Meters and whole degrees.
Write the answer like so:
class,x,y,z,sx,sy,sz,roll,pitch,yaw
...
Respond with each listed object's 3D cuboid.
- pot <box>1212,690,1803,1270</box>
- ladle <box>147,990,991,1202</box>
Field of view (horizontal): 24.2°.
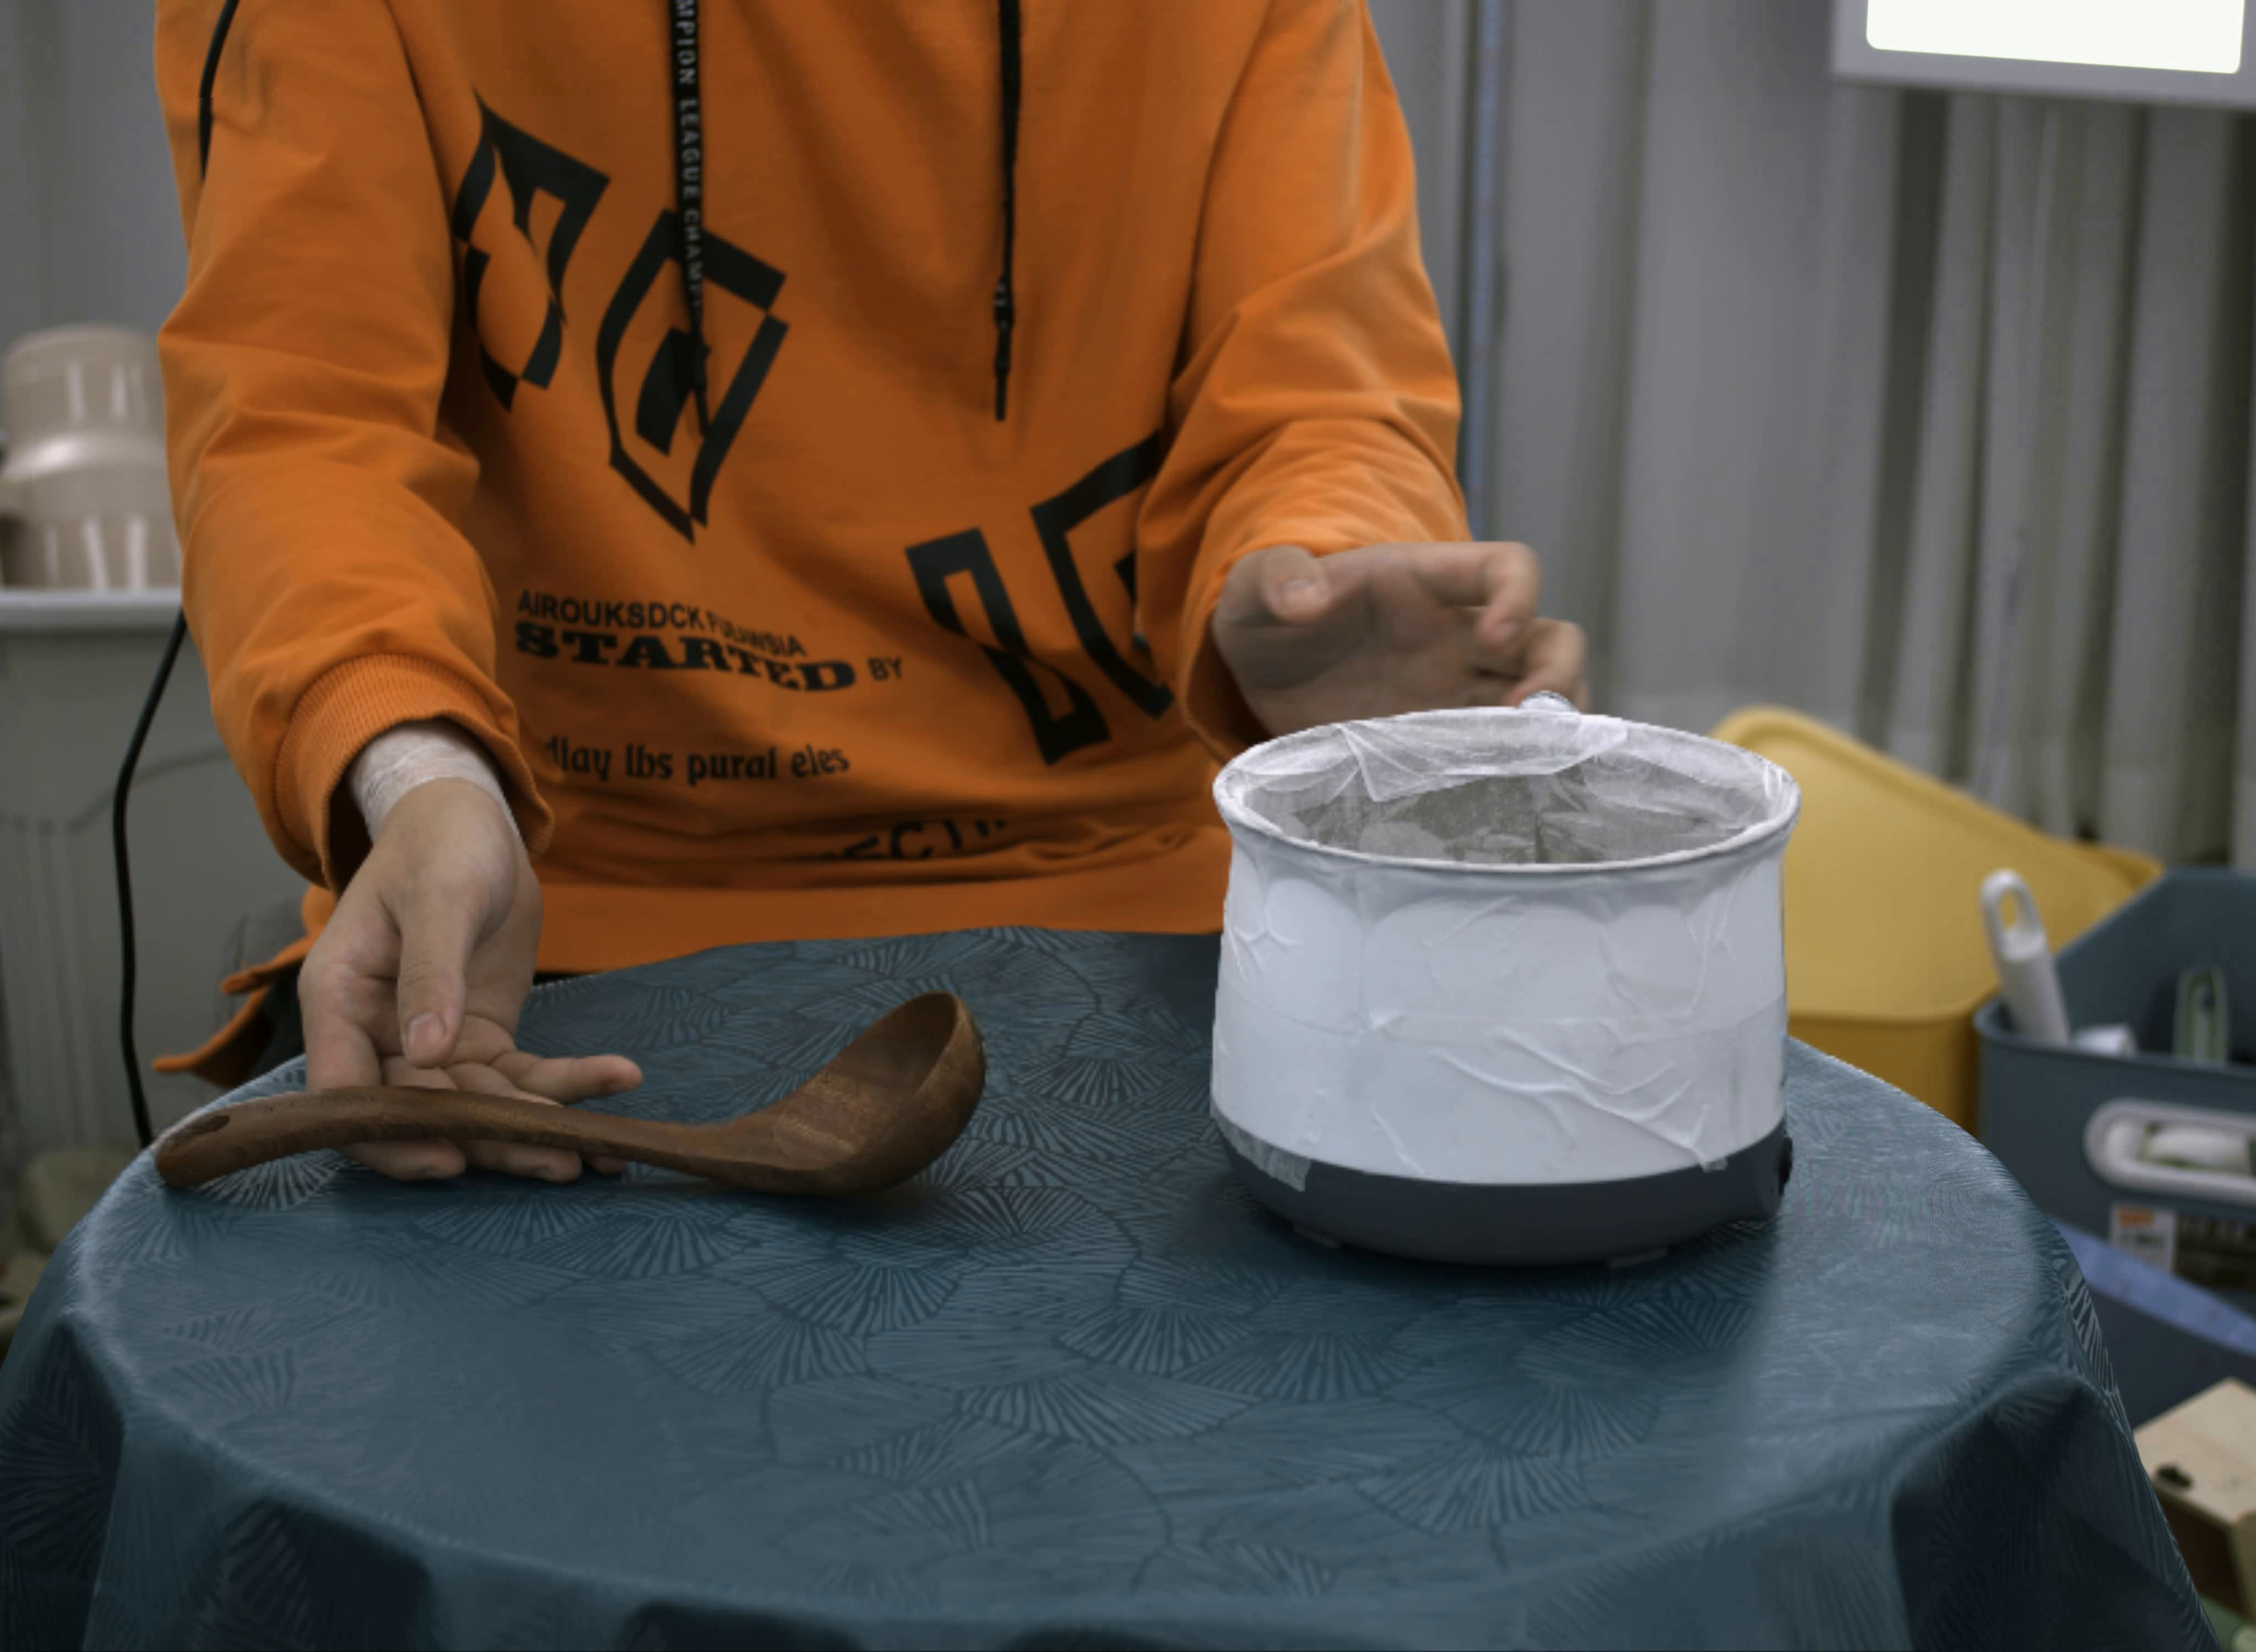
class,x,y,z,sx,sy,sz,roll,pitch,yaw
pot,0.118,0.041,1.624,0.177,0.138,0.233,3,16,9
ladle,-0.171,0.082,1.607,0.259,0.066,0.076,1,22,0
